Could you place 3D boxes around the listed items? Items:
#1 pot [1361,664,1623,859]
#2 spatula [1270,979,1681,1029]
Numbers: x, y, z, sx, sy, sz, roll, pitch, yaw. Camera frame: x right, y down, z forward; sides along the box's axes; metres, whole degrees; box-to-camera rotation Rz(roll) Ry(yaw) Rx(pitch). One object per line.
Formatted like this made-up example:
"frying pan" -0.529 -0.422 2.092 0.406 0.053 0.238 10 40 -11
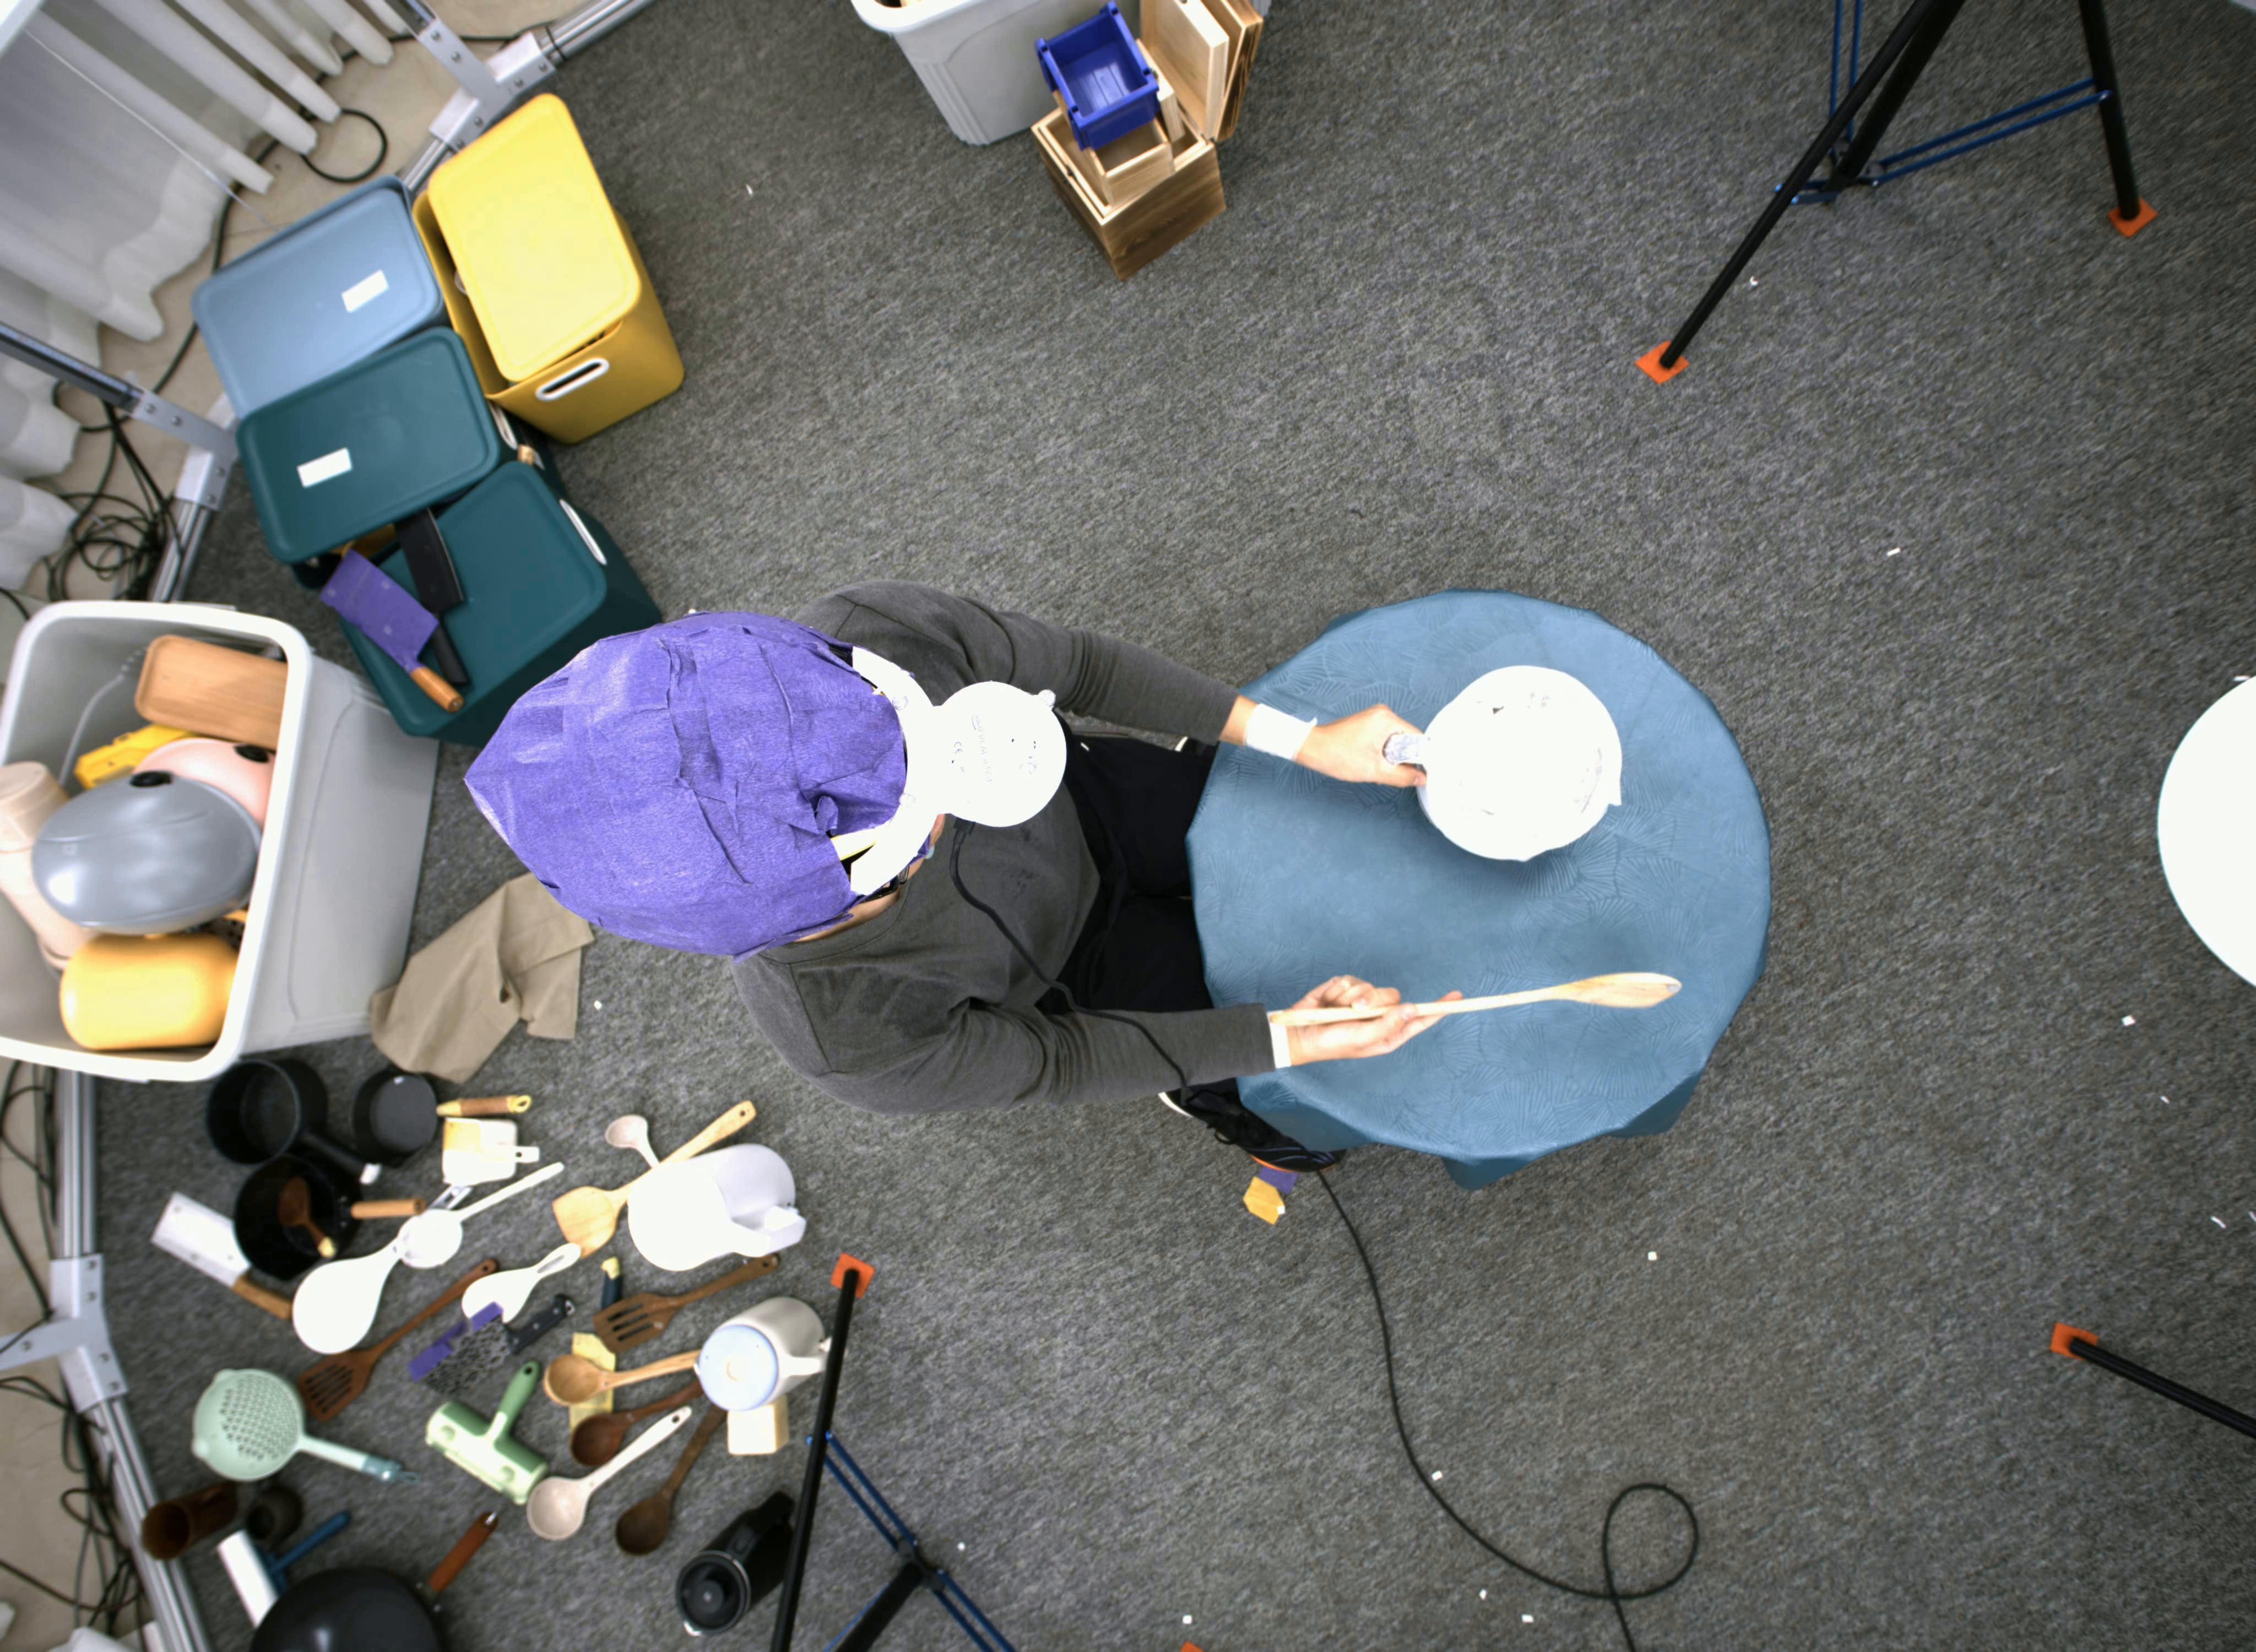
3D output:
"pot" 0.352 -0.063 1.353 0.234 0.137 0.178 6 85 3
"spatula" 0.331 0.171 1.320 0.391 0.097 0.018 -7 73 2
